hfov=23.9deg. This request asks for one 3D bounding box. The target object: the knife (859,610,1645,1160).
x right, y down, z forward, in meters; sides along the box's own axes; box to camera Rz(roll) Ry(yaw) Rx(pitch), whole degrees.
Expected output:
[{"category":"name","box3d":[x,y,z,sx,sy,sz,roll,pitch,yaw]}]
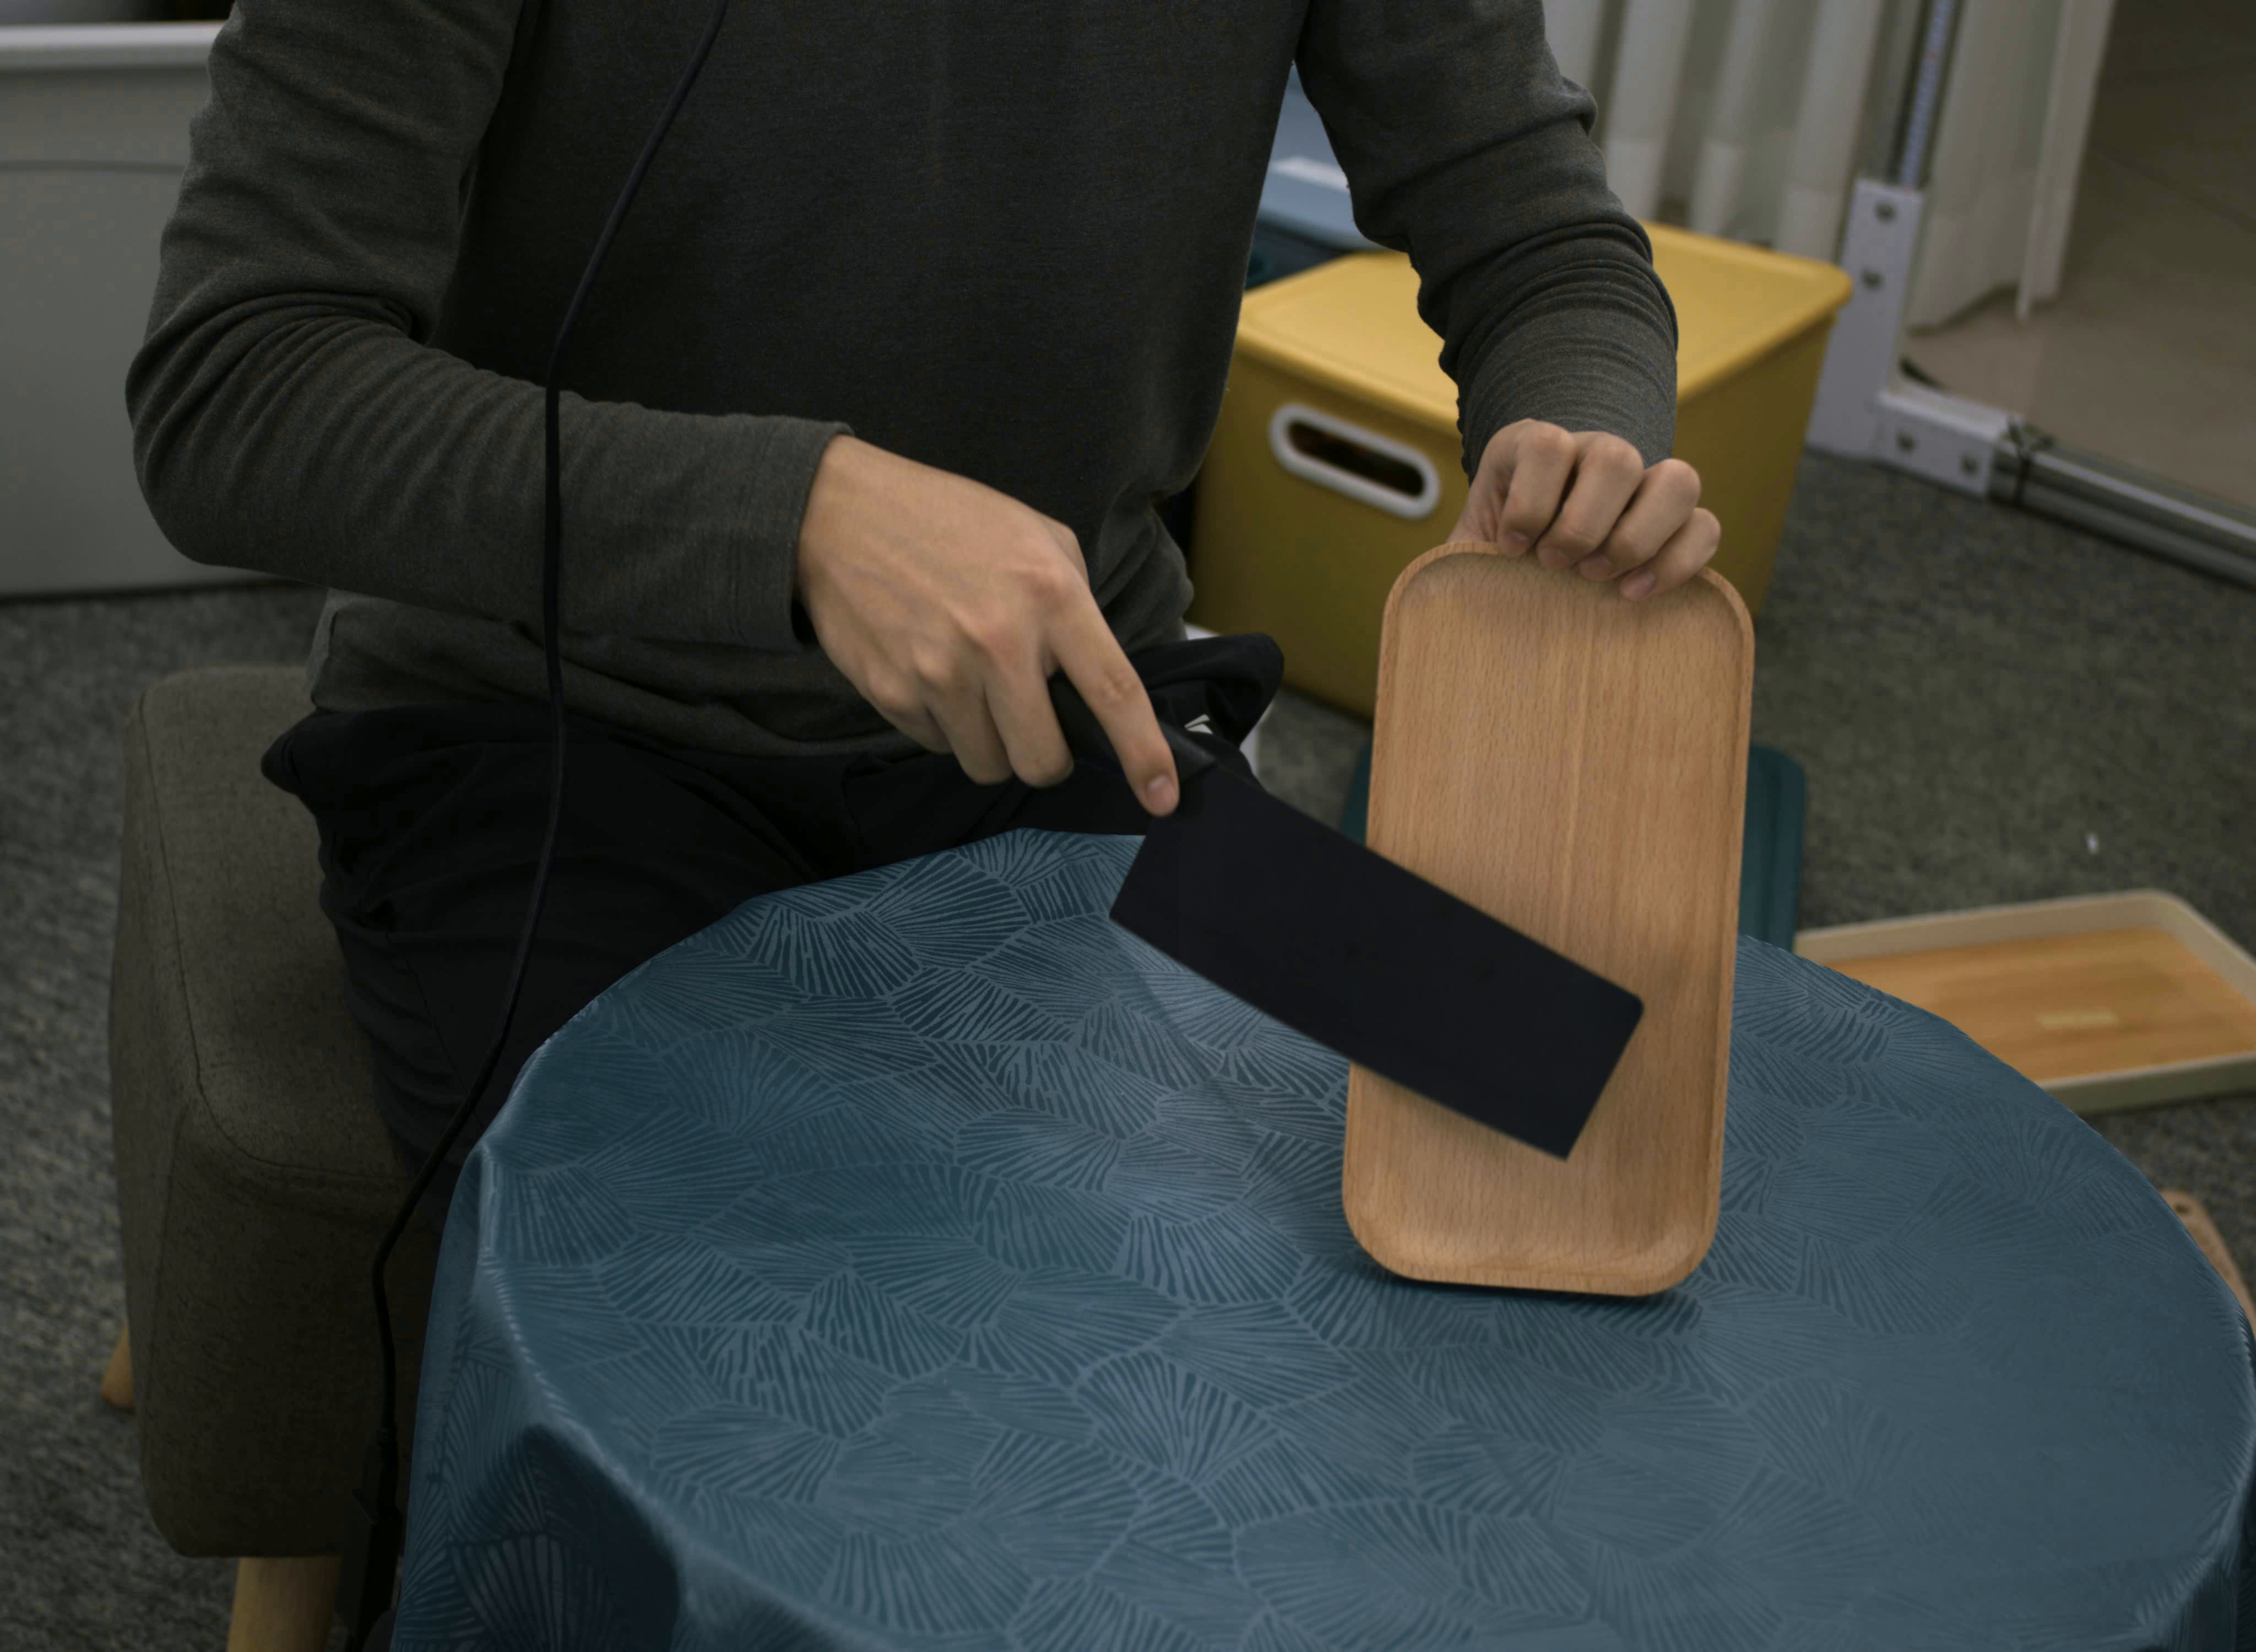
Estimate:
[{"category":"knife","box3d":[0.035,0.014,1.790,0.303,0.081,0.021,33,9,18]}]

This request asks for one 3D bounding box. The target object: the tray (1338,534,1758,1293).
[{"category":"tray","box3d":[0.141,0.029,1.789,0.130,0.252,0.023,5,-8,-2]}]
